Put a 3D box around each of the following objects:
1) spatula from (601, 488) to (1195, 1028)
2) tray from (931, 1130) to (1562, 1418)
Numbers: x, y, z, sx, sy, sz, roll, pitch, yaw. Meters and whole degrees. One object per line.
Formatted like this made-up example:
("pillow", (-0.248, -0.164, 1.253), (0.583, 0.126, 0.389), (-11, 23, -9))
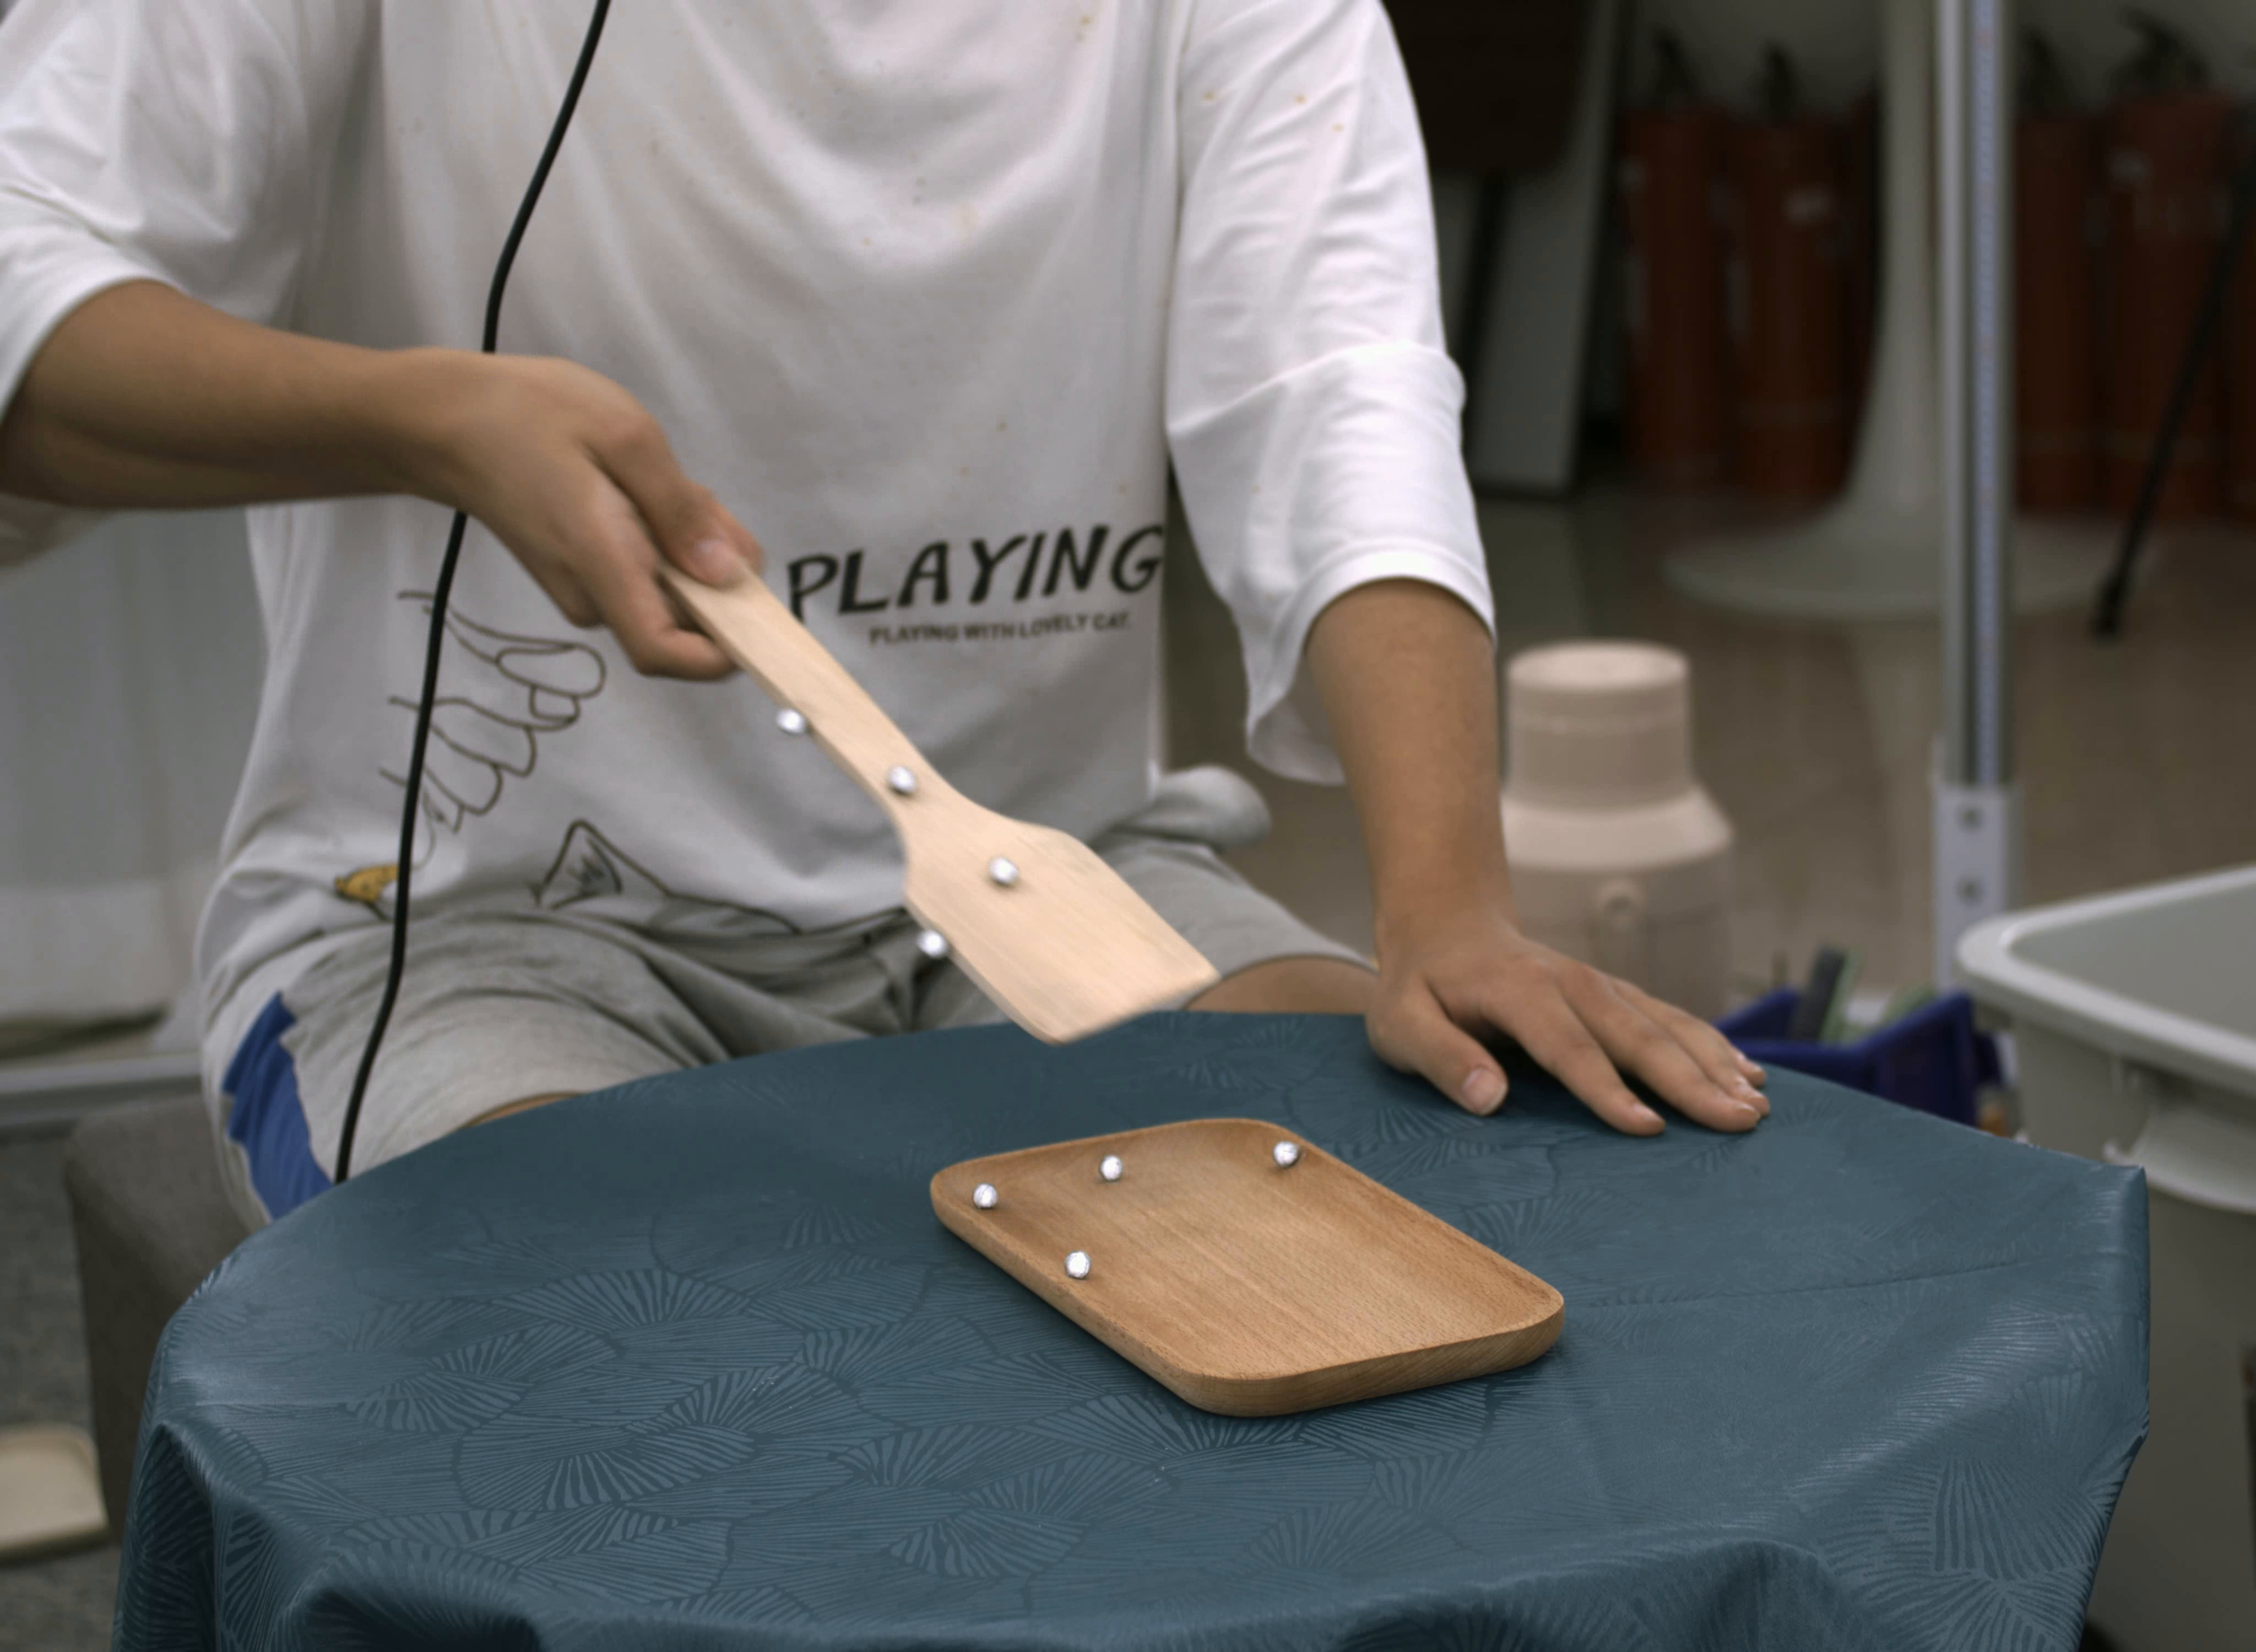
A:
("spatula", (-0.090, -0.028, 1.799), (0.071, 0.011, 0.296), (-20, 48, -32))
("tray", (0.033, 0.136, 1.671), (0.128, 0.023, 0.253), (-11, 15, -19))
